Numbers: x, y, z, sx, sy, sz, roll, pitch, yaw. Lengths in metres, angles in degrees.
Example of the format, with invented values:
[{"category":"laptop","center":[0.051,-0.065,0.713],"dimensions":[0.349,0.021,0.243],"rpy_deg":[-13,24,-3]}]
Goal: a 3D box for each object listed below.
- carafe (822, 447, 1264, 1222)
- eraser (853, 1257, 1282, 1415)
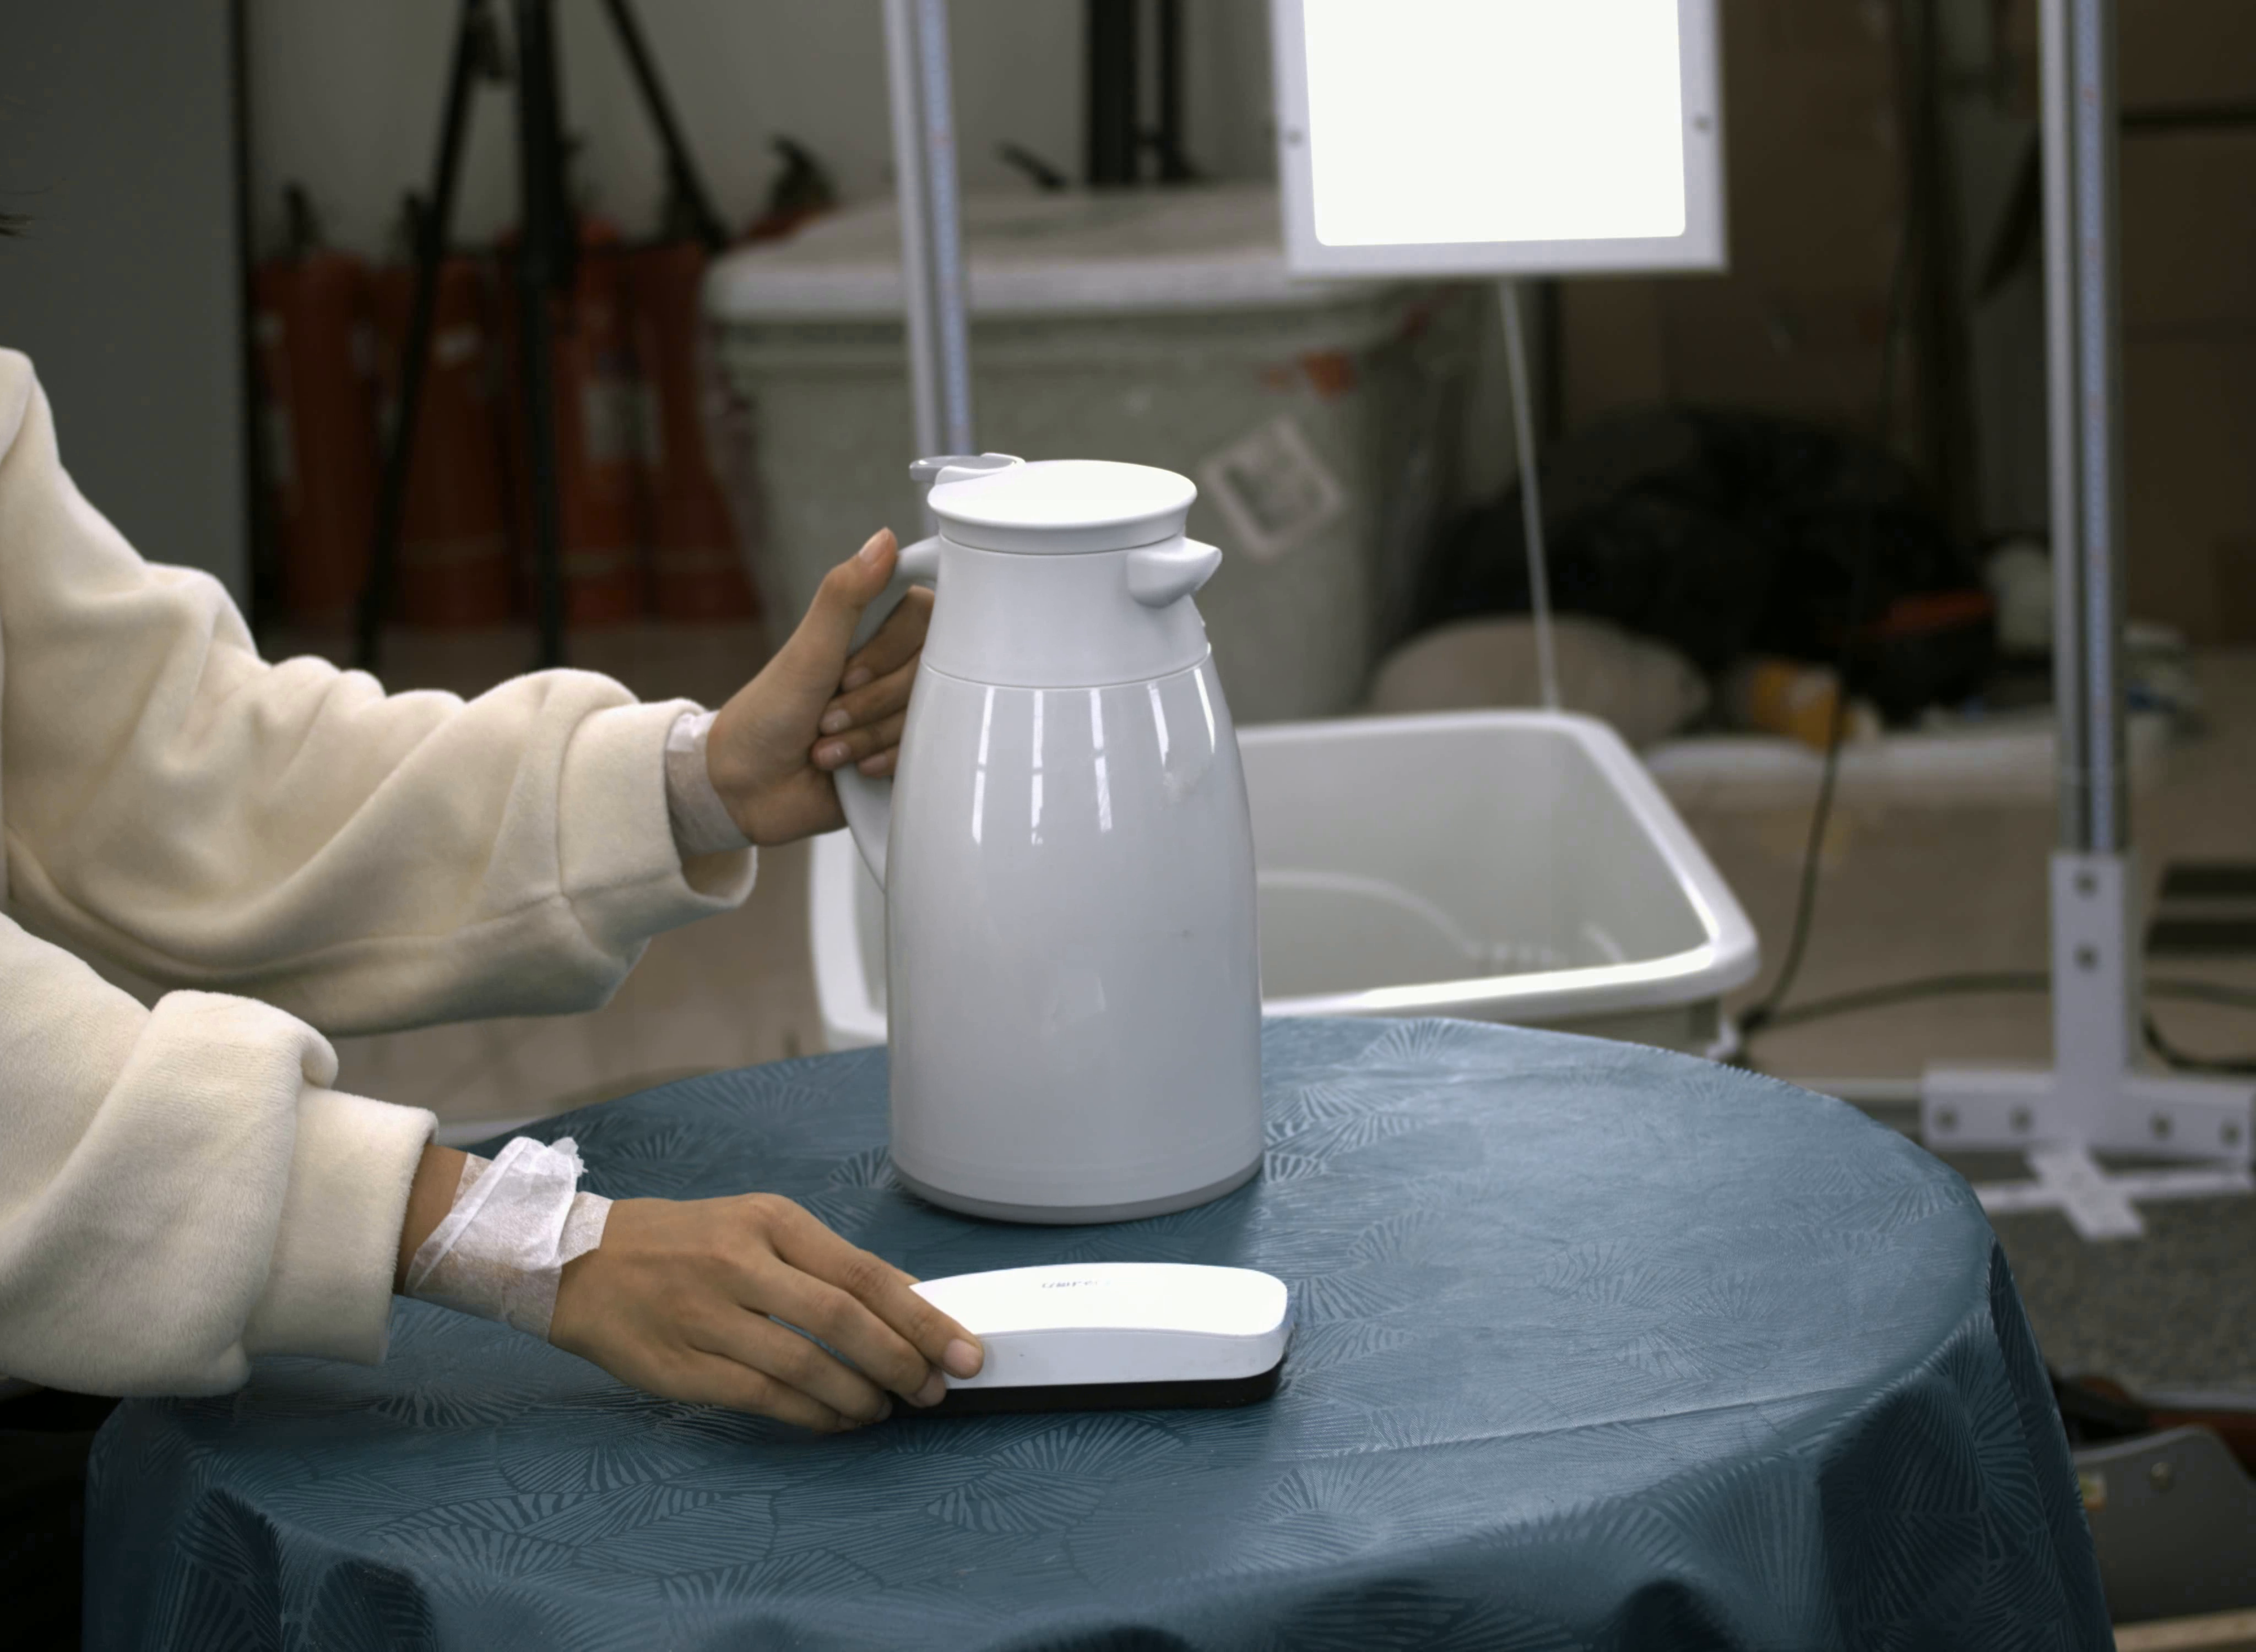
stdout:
[{"category":"carafe","center":[-0.036,-0.005,1.901],"dimensions":[0.171,0.250,0.129],"rpy_deg":[11,21,38]},{"category":"eraser","center":[-0.018,0.158,1.709],"dimensions":[0.132,0.034,0.063],"rpy_deg":[-2,12,10]}]
